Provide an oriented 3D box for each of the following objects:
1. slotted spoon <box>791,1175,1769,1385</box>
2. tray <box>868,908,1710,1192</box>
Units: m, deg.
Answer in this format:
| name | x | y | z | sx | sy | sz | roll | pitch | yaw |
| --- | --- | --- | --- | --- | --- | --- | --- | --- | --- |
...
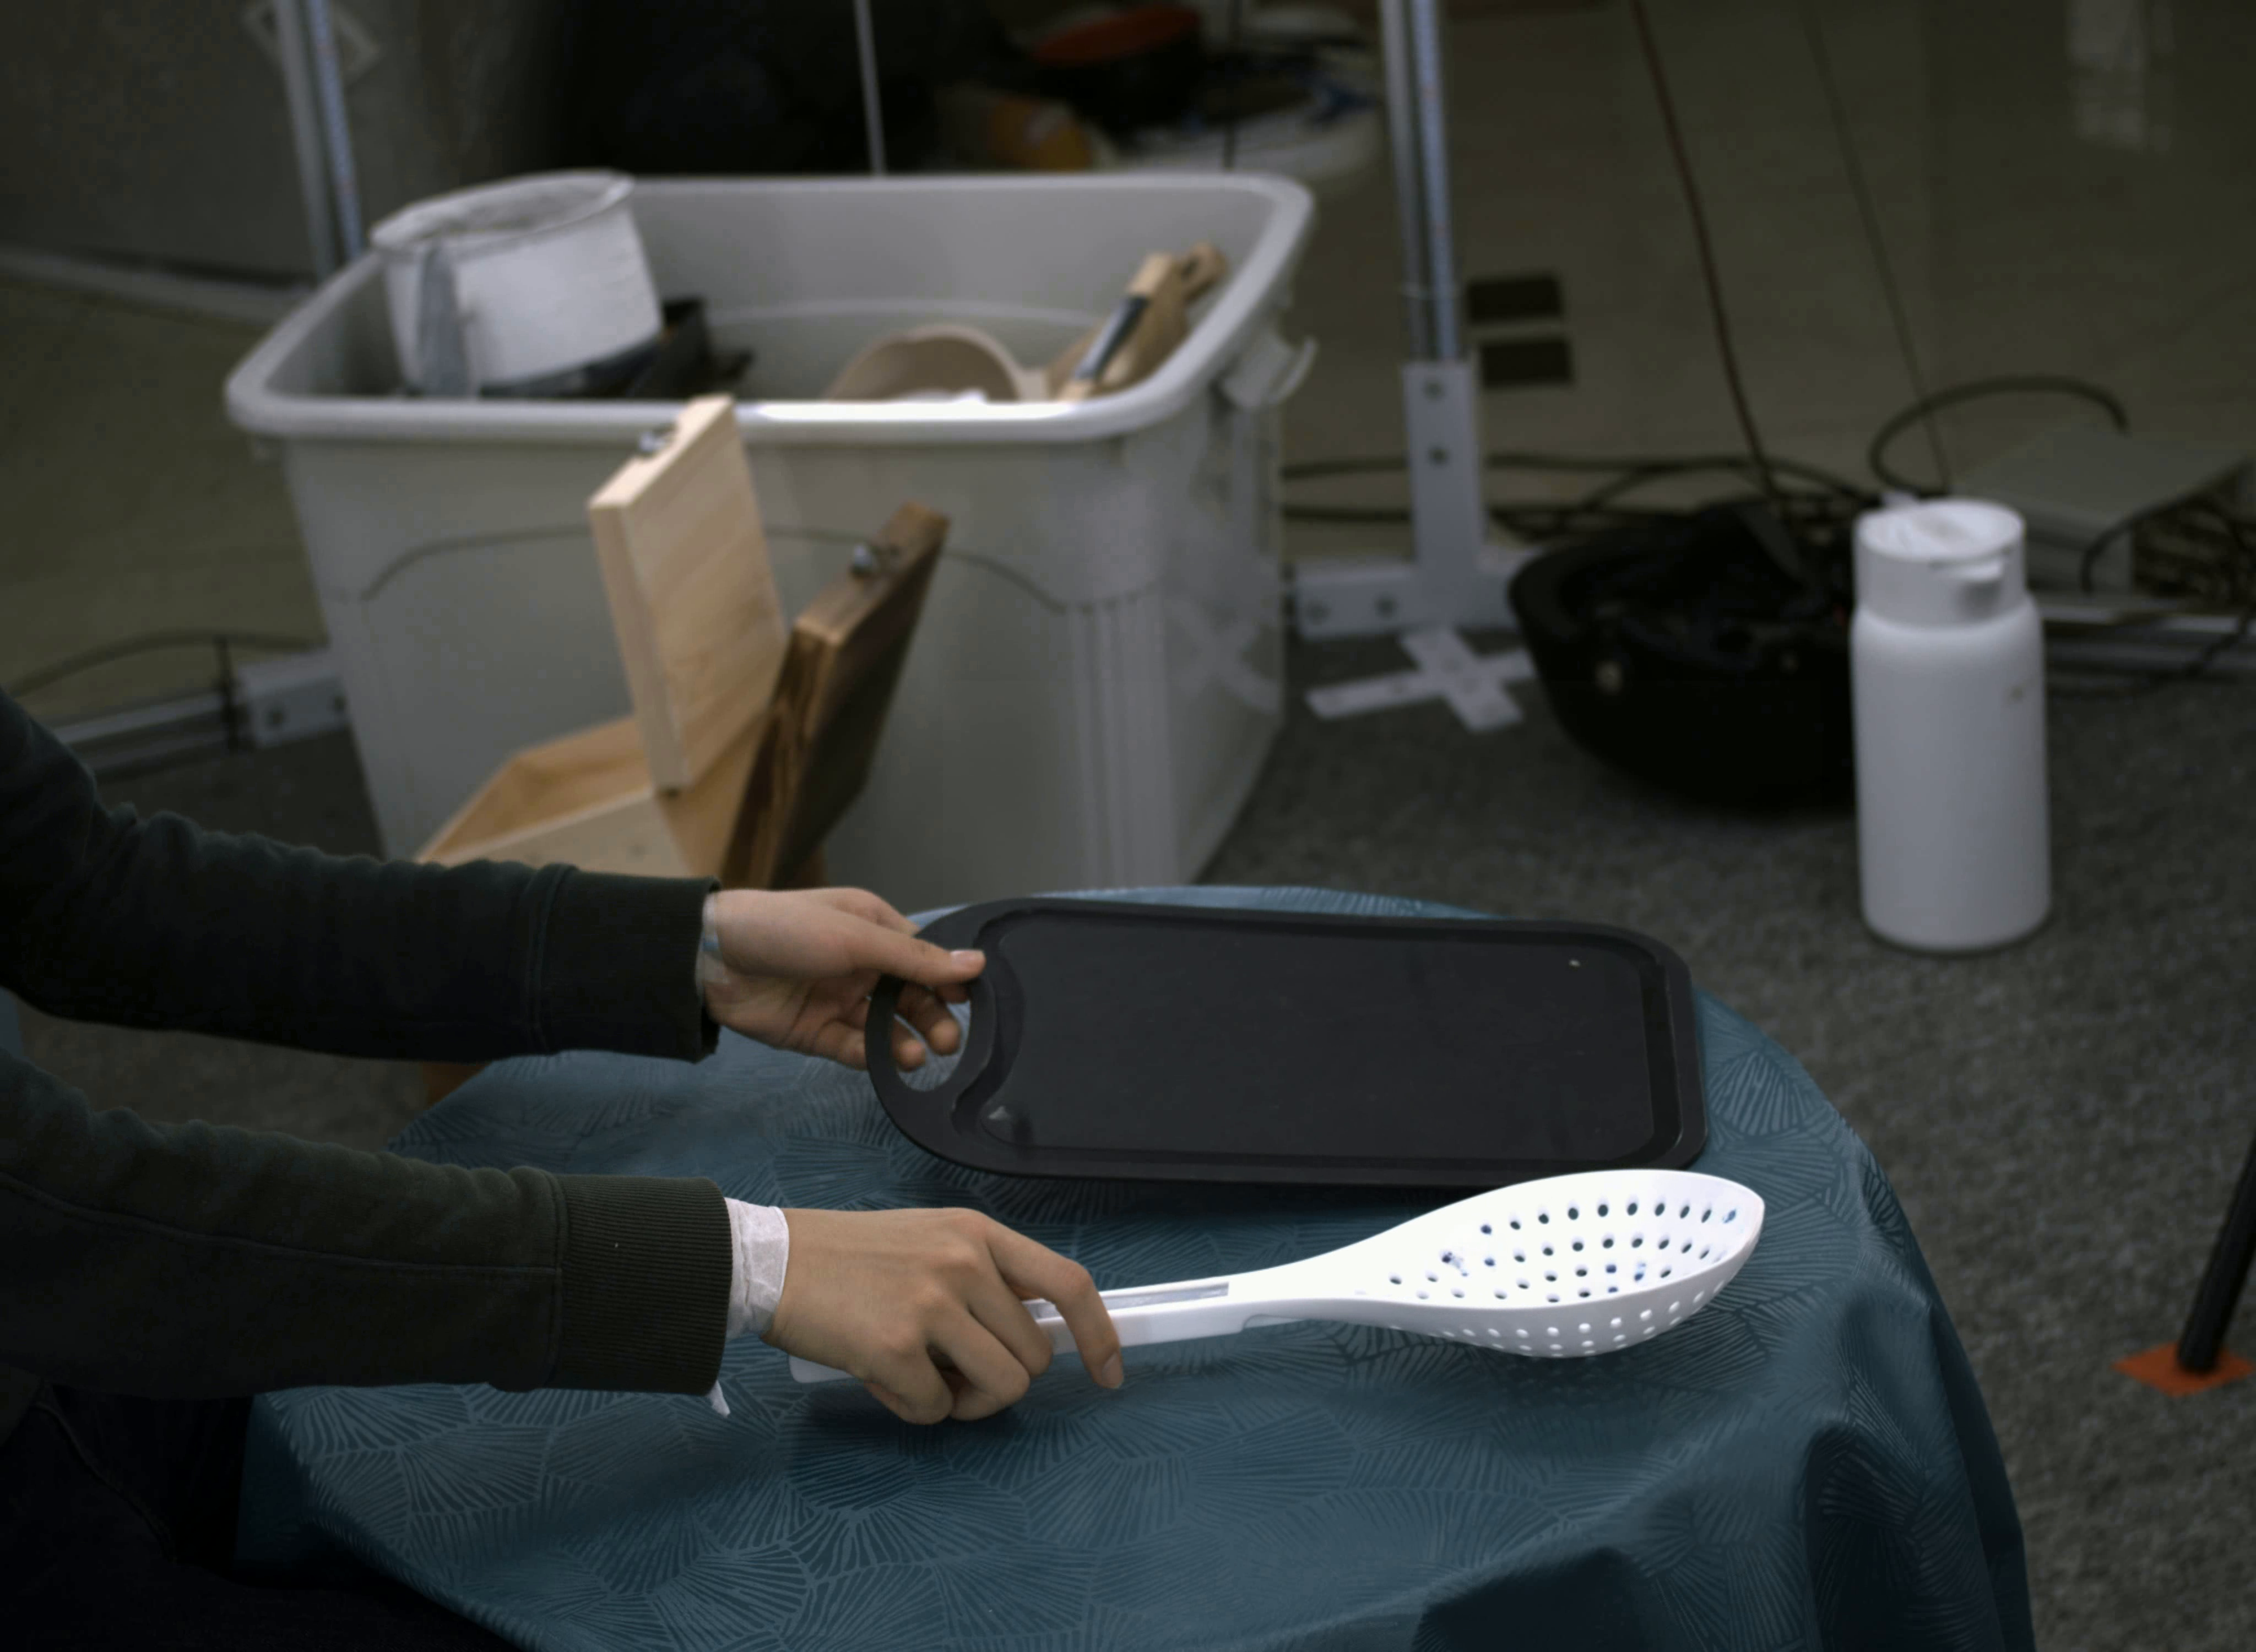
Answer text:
| name | x | y | z | sx | sy | sz | roll | pitch | yaw |
| --- | --- | --- | --- | --- | --- | --- | --- | --- | --- |
| slotted spoon | 0.053 | 0.167 | 2.015 | 0.349 | 0.046 | 0.135 | -3 | 14 | 4 |
| tray | 0.061 | 0.083 | 2.203 | 0.325 | 0.010 | 0.208 | 2 | 27 | 2 |
